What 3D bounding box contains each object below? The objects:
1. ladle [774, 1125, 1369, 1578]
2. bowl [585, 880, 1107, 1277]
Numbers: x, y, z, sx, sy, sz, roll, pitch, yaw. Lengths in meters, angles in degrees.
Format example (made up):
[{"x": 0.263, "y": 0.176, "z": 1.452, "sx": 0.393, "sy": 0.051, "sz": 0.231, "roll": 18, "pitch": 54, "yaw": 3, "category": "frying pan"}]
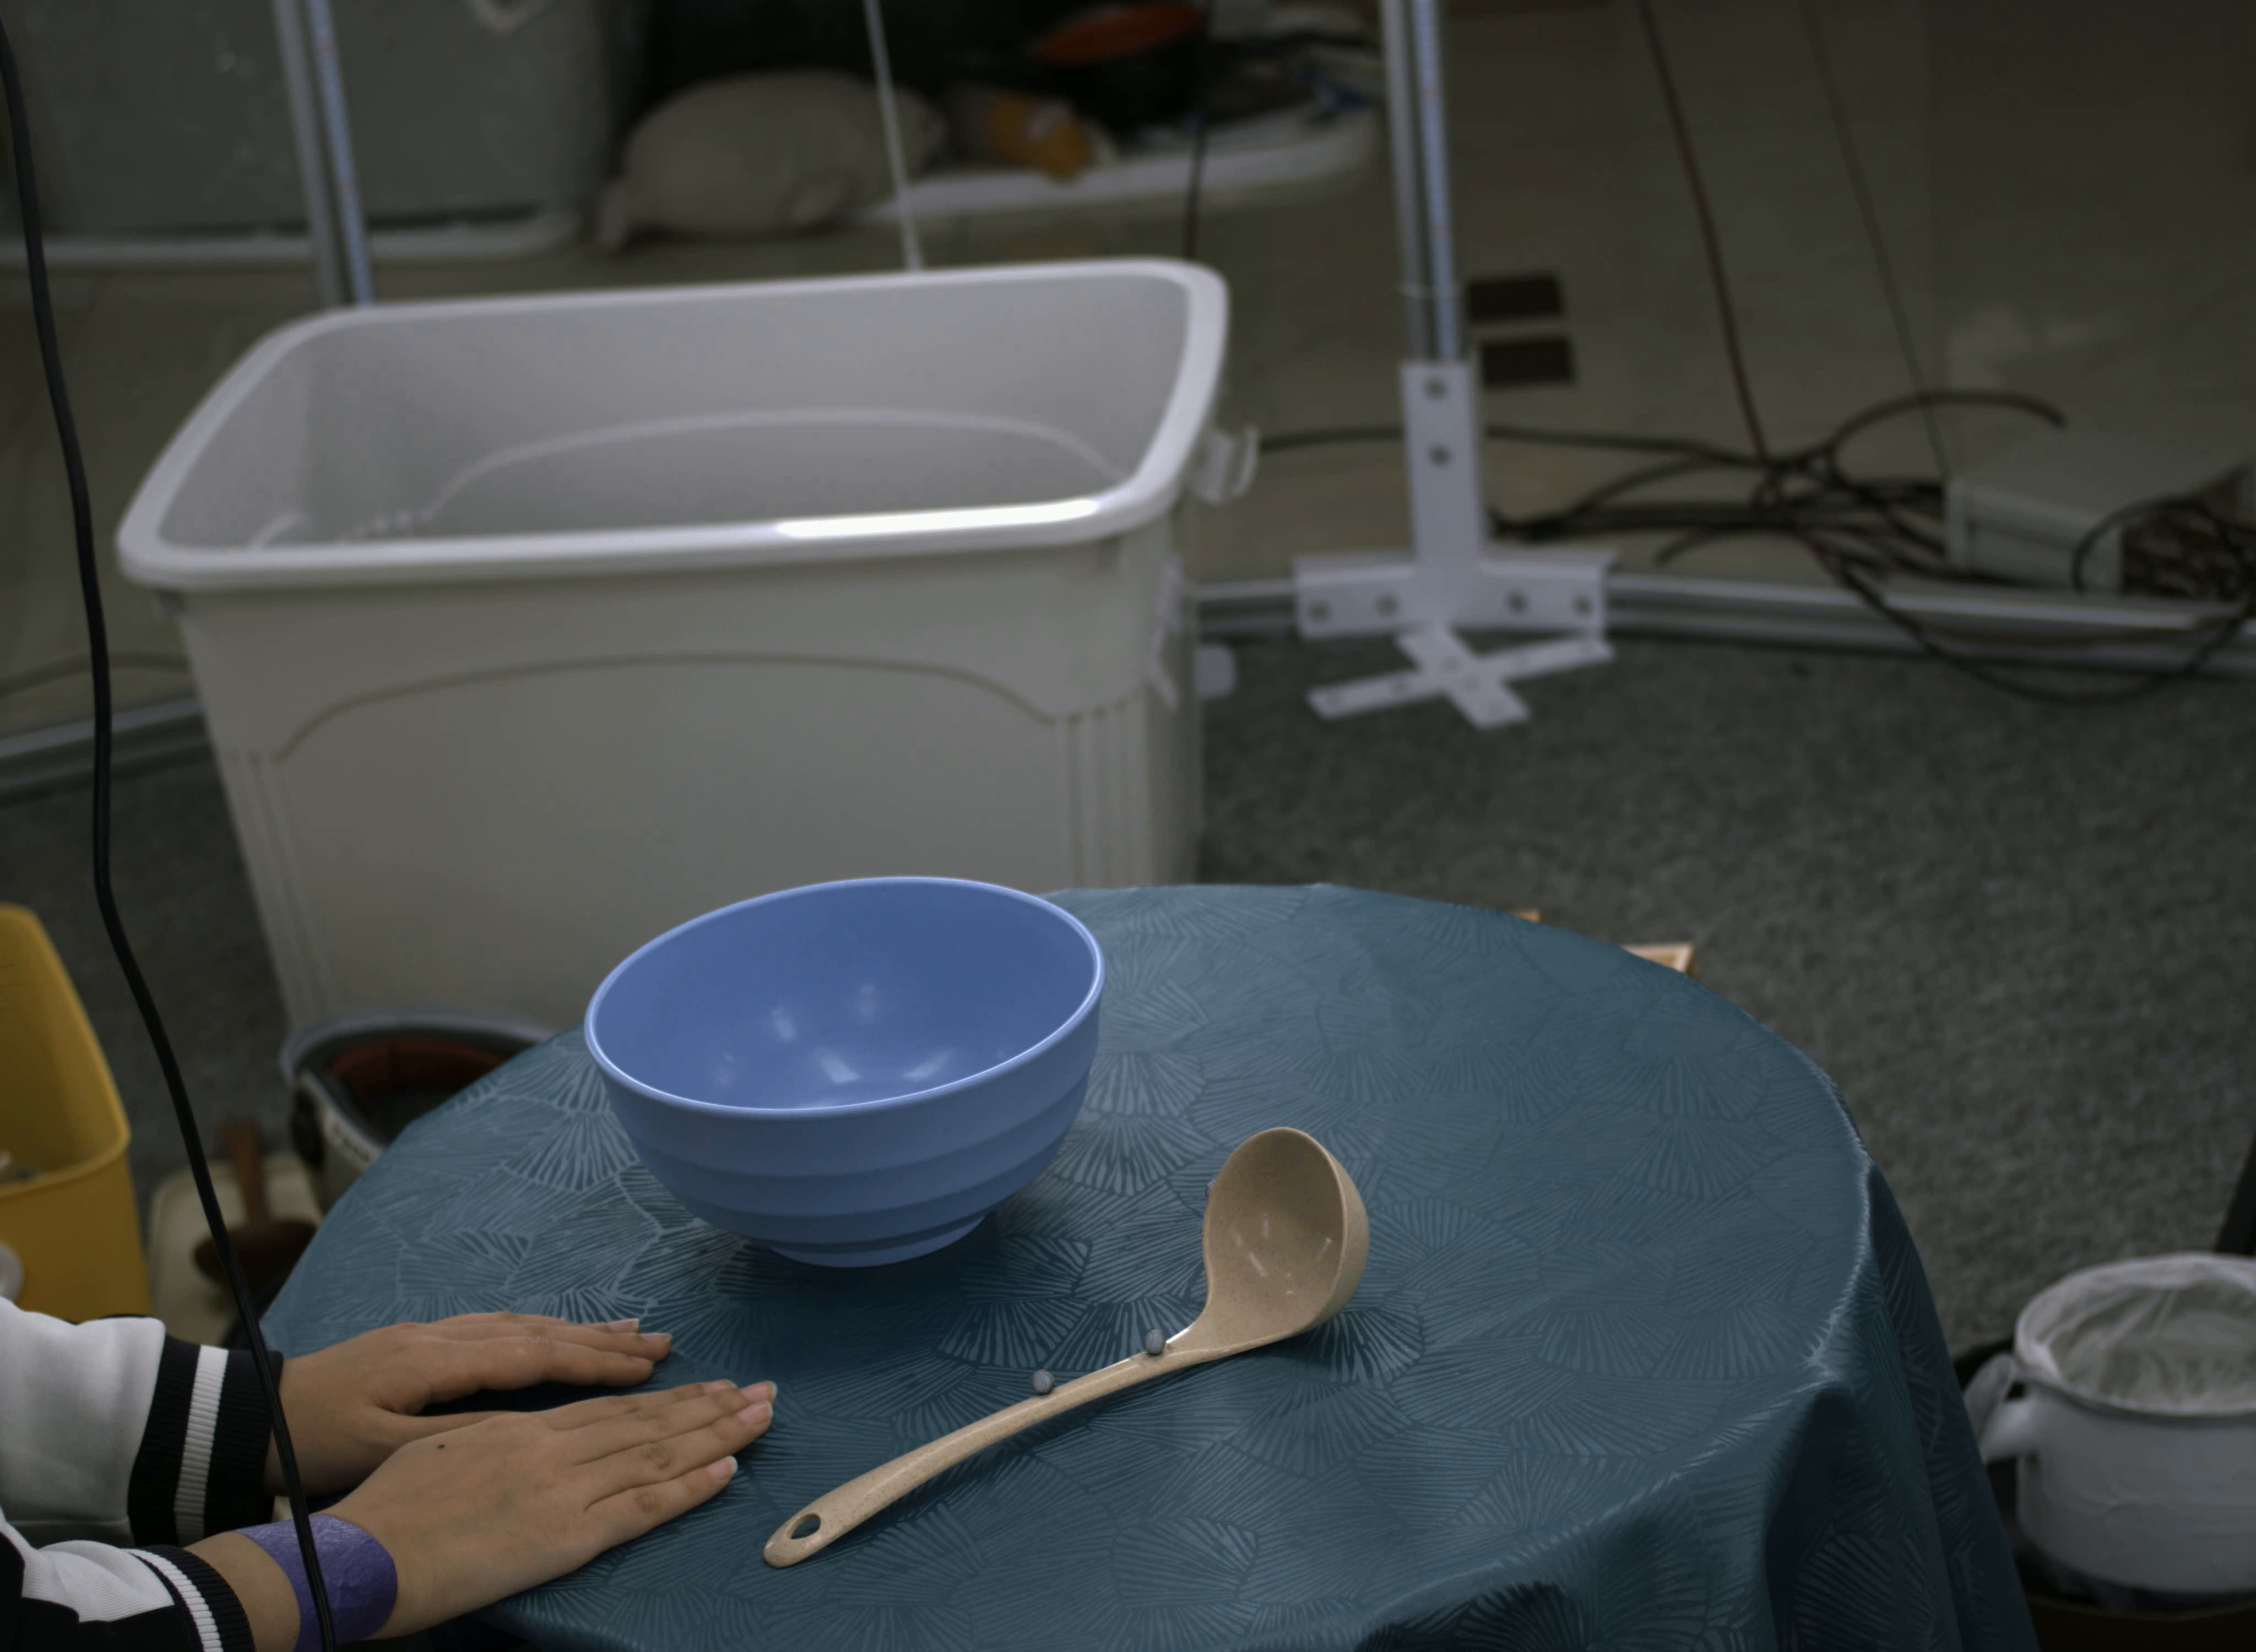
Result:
[{"x": -0.023, "y": 0.179, "z": 1.980, "sx": 0.252, "sy": 0.074, "sz": 0.071, "roll": -24, "pitch": 37, "yaw": -32, "category": "ladle"}, {"x": -0.101, "y": 0.106, "z": 2.138, "sx": 0.196, "sy": 0.097, "sz": 0.193, "roll": -5, "pitch": 27, "yaw": 3, "category": "bowl"}]
